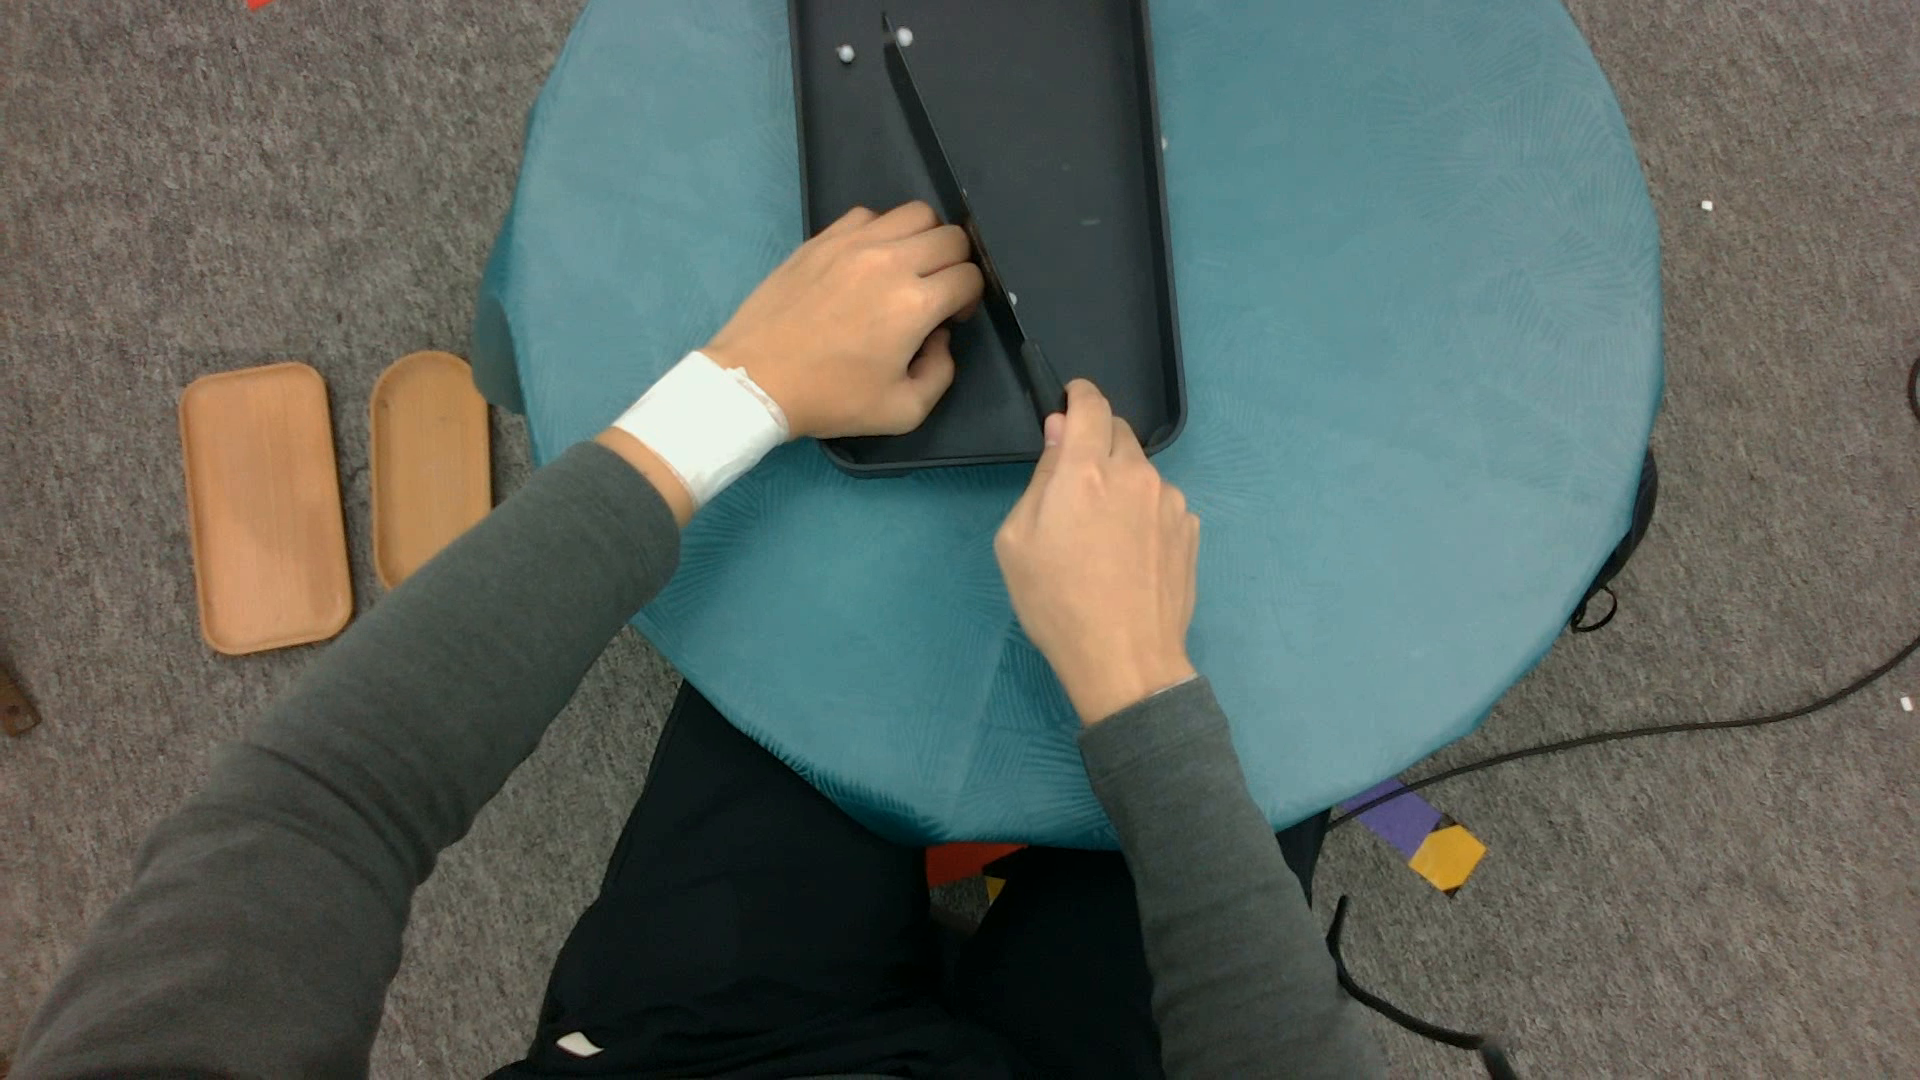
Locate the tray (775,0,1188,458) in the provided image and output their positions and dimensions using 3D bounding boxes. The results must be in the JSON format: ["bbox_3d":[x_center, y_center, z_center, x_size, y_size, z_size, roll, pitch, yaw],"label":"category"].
[{"bbox_3d":[0.005,-0.203,0.699,0.184,0.037,0.318,-5,81,-4],"label":"tray"}]

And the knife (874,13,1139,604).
[{"bbox_3d":[0.016,-0.110,0.658,0.021,0.081,0.302,-22,79,-5],"label":"knife"}]
